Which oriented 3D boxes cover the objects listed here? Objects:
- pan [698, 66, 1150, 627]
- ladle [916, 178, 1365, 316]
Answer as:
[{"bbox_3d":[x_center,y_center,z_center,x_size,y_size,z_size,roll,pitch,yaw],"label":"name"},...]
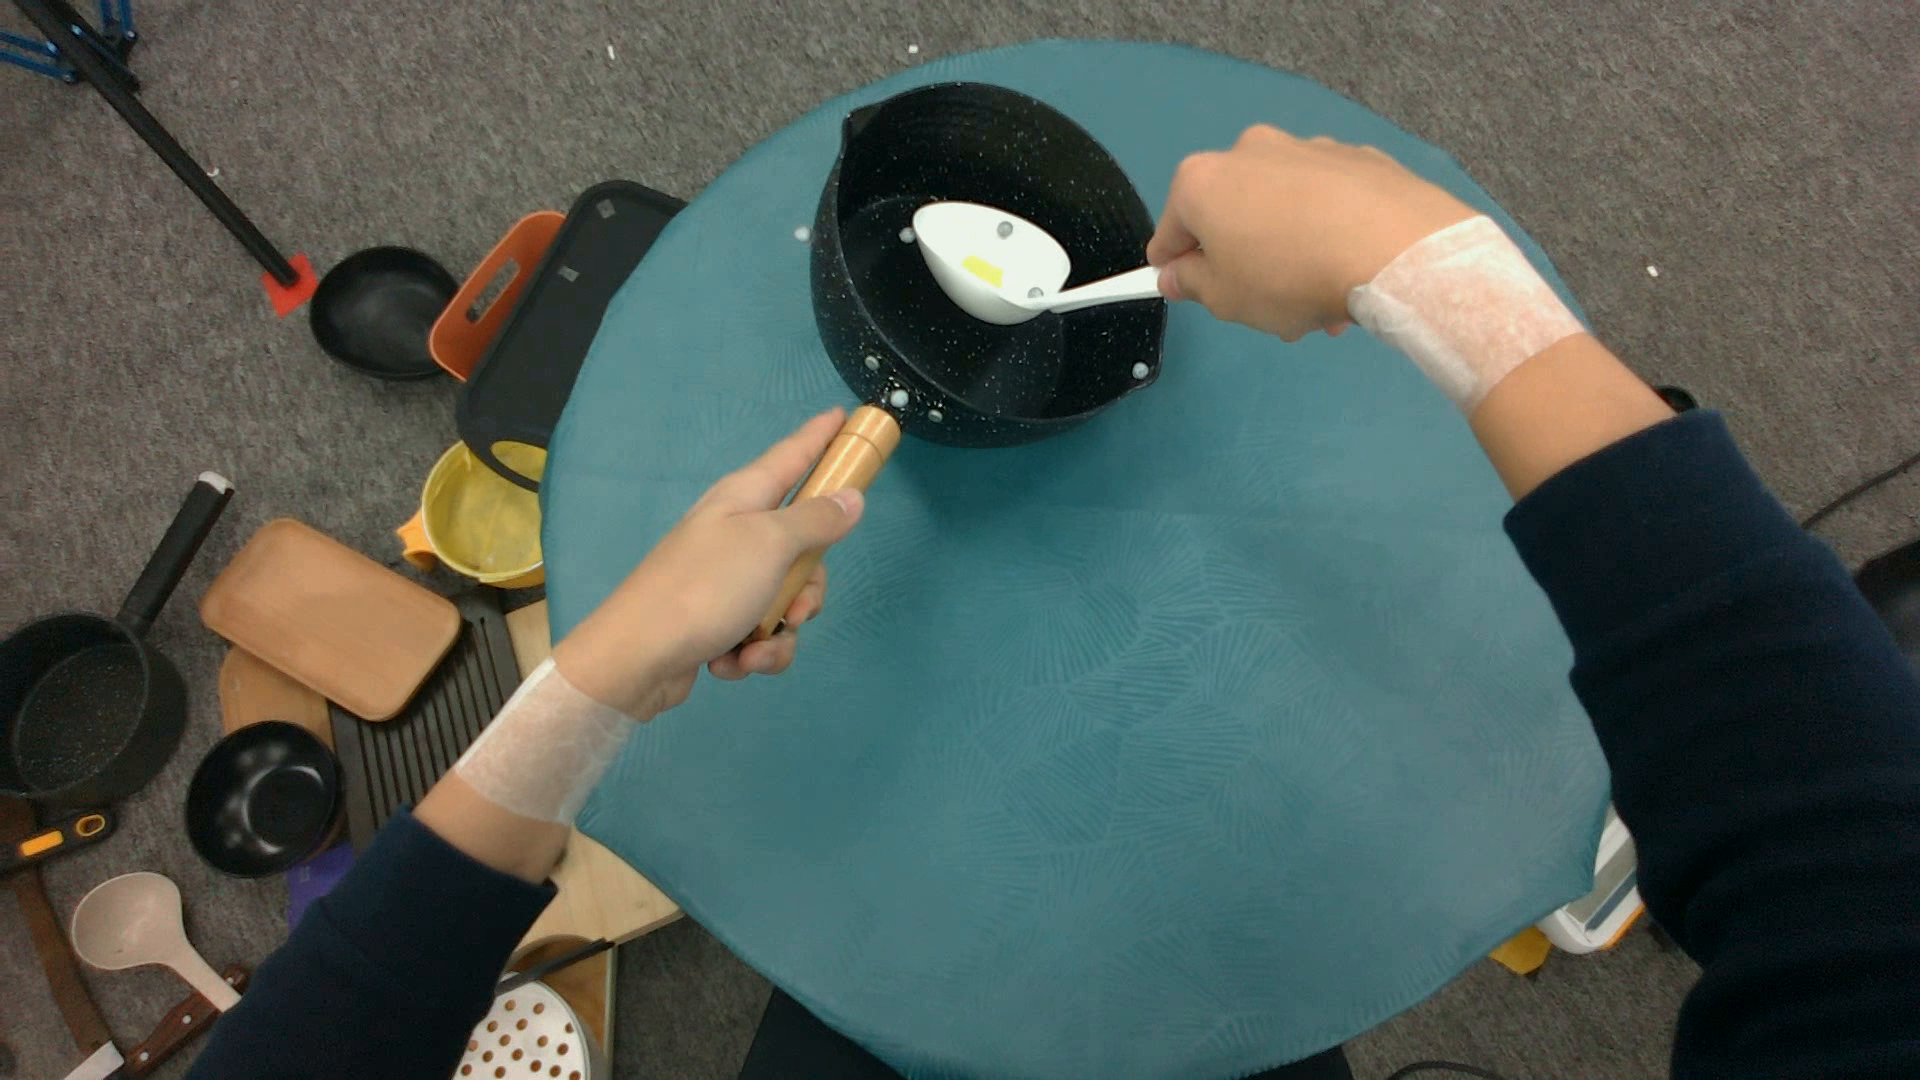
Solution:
[{"bbox_3d":[-0.033,-0.083,0.668,0.207,0.108,0.344,38,60,-12],"label":"pan"},{"bbox_3d":[0.072,-0.139,0.636,0.090,0.292,0.070,11,93,-31],"label":"ladle"}]
